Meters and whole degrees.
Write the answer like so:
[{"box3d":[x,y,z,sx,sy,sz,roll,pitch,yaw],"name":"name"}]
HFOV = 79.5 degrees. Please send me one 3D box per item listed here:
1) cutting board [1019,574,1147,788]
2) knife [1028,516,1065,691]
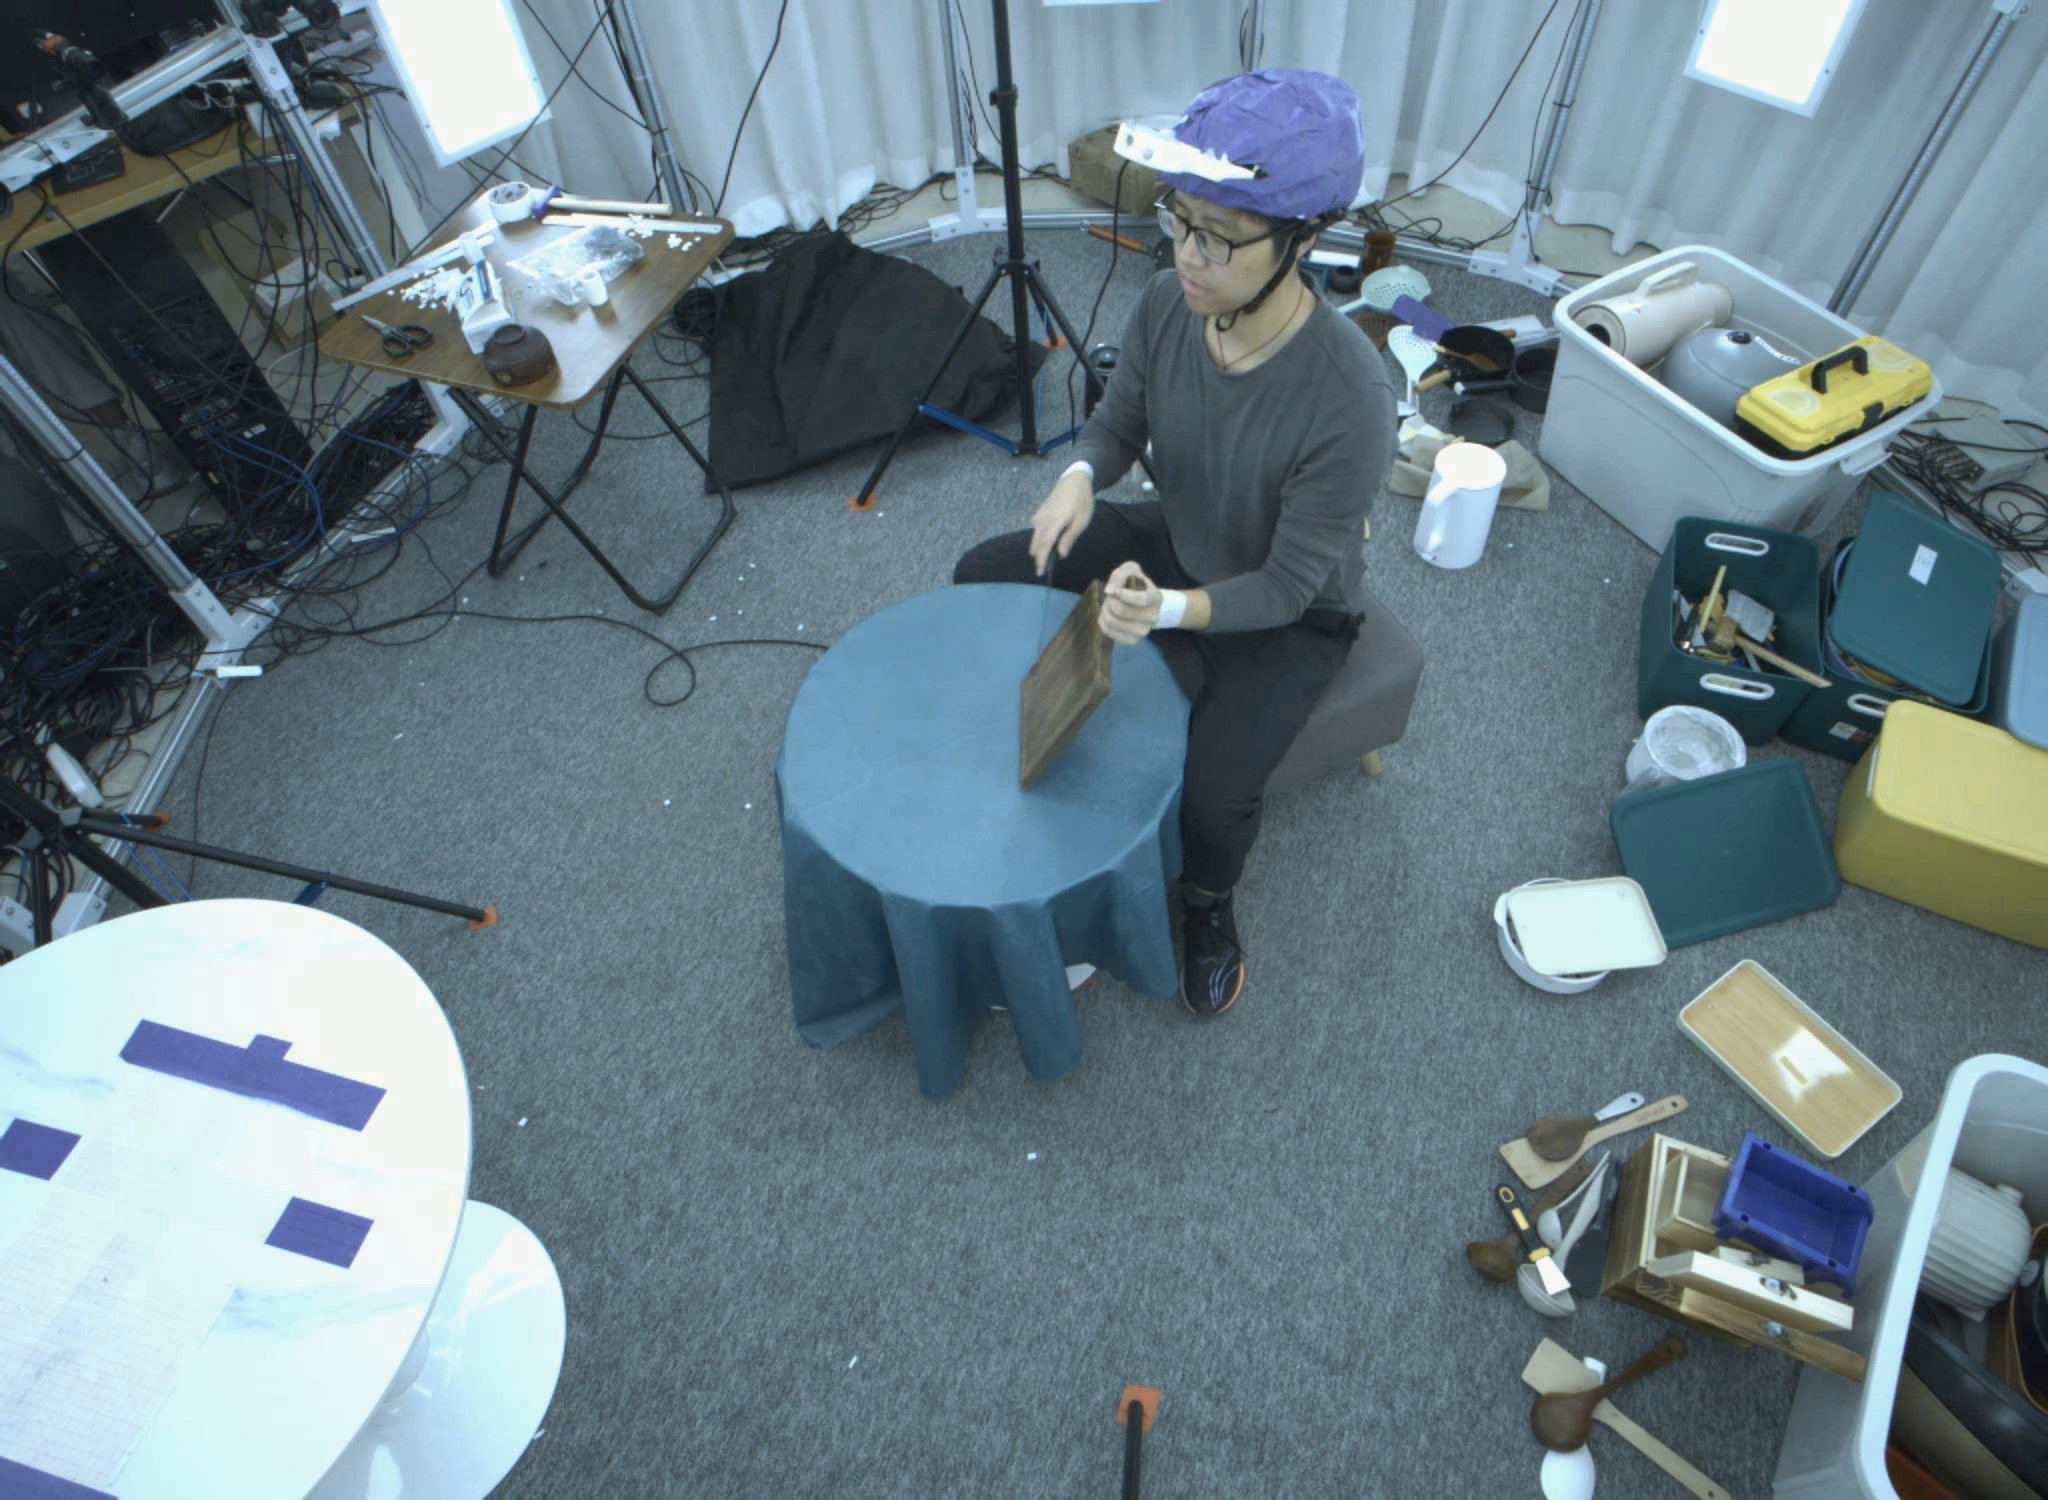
[{"box3d":[0.073,-0.117,1.681,0.023,0.350,0.199,15,51,-20],"name":"cutting board"},{"box3d":[0.028,-0.212,1.699,0.021,0.081,0.300,8,57,2],"name":"knife"}]
